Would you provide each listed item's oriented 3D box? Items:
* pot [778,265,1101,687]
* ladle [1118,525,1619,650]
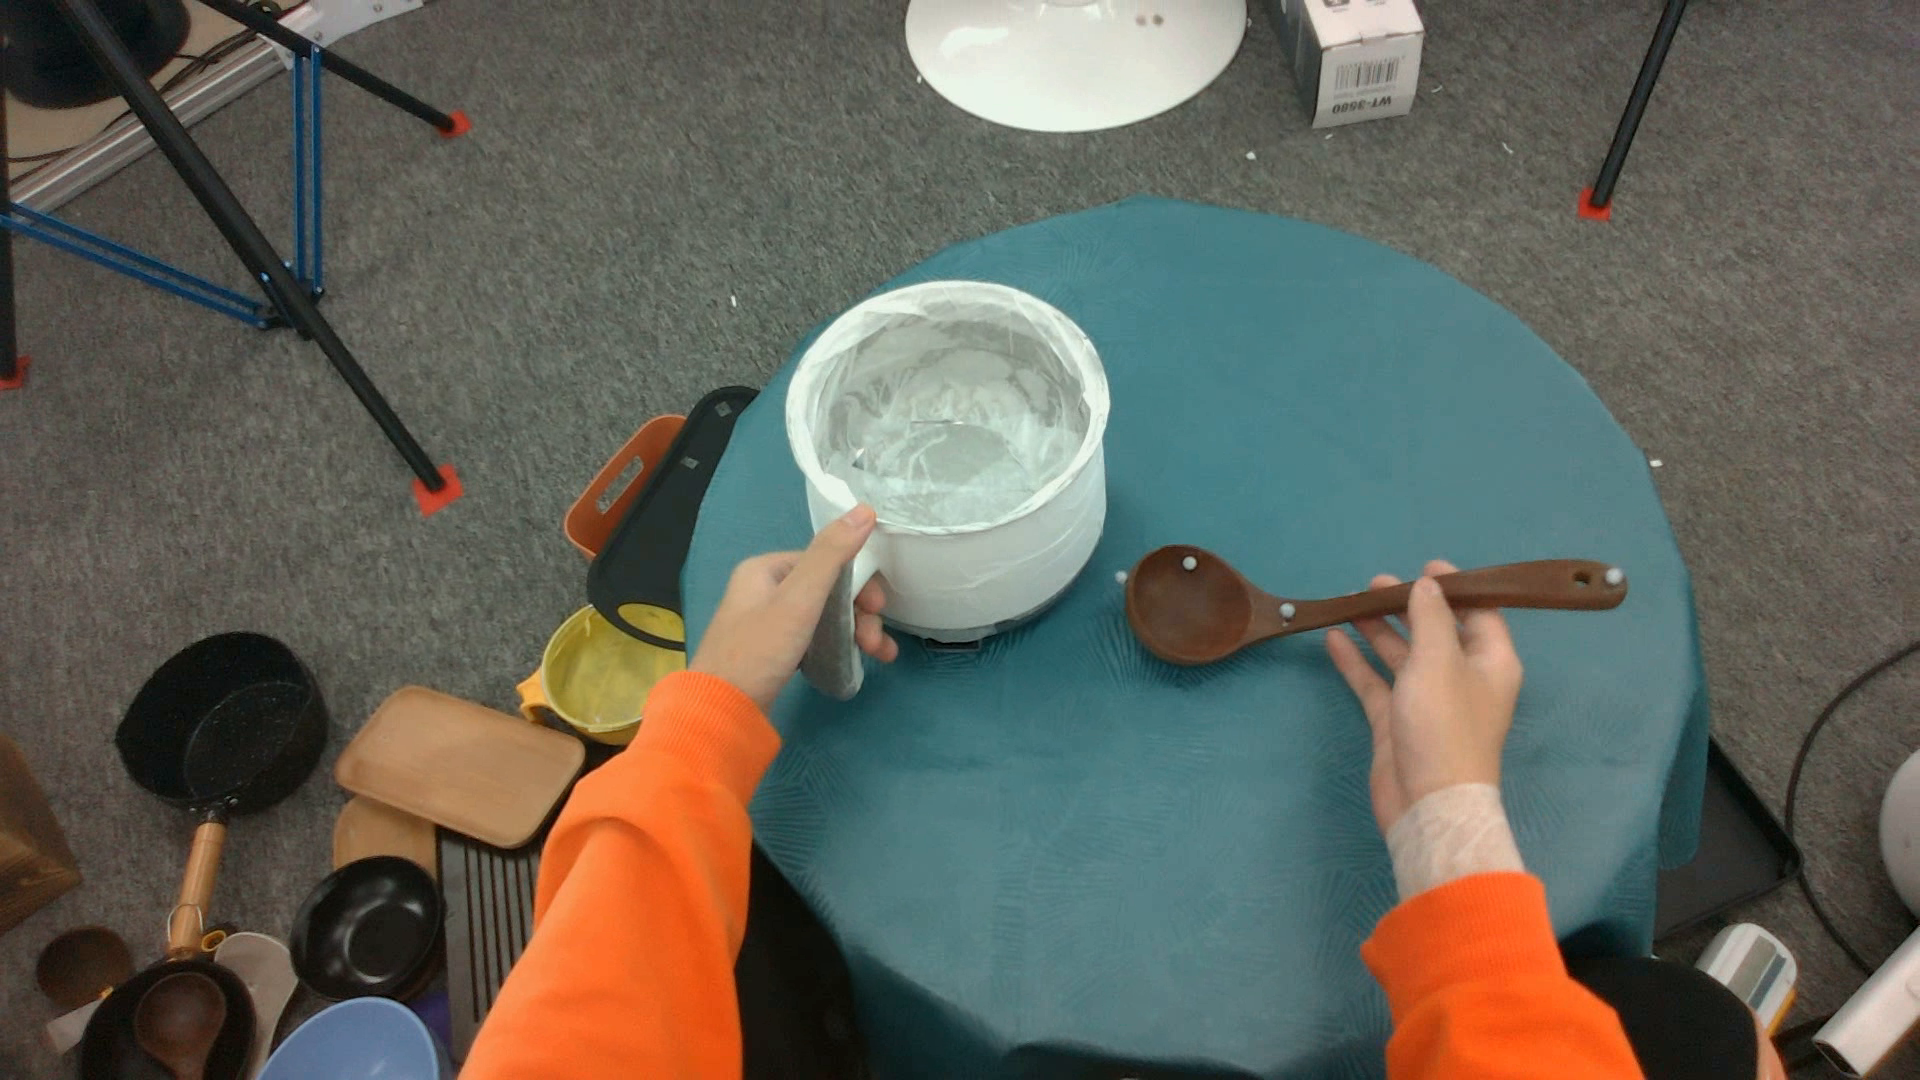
[{"bbox_3d":[-0.021,-0.029,0.787,0.178,0.136,0.235,24,62,19],"label":"pot"},{"bbox_3d":[0.211,0.018,0.746,0.259,0.065,0.077,-8,60,30],"label":"ladle"}]
